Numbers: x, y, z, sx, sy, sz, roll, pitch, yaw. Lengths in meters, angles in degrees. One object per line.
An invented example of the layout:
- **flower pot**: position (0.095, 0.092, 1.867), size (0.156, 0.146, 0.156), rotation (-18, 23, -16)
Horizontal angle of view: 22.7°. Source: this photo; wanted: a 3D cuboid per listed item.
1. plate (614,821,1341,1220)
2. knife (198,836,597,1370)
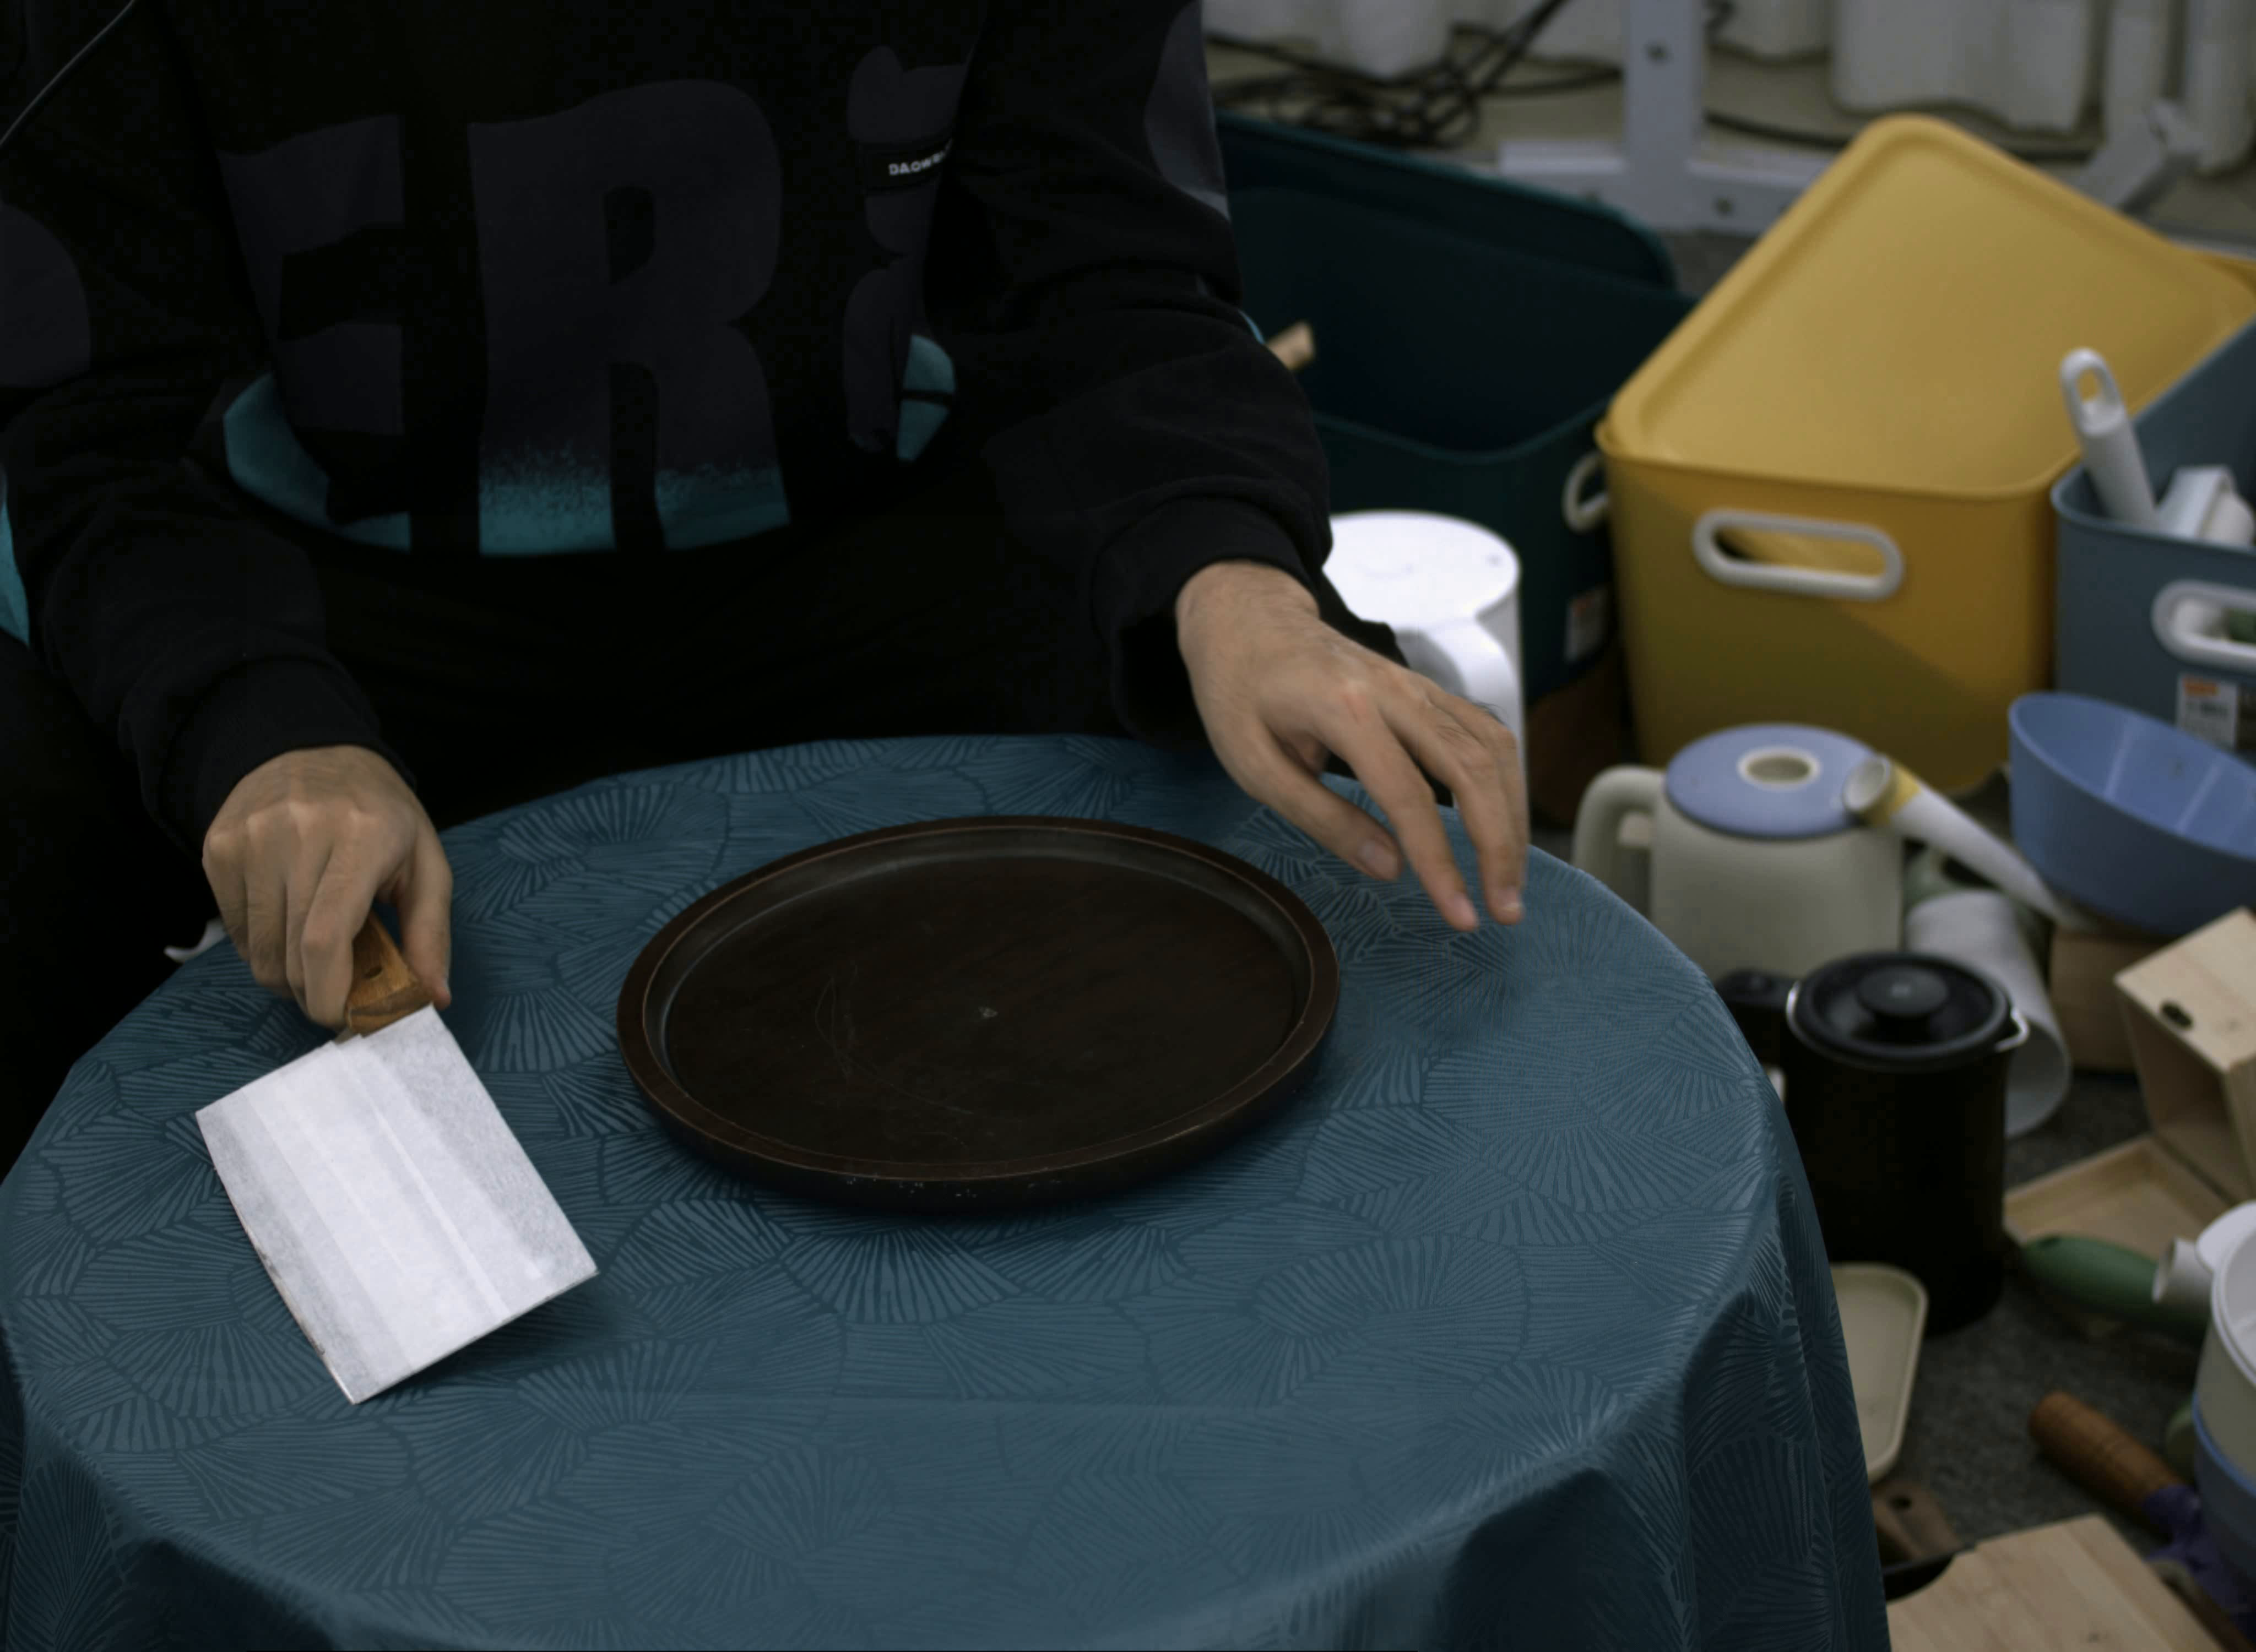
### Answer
- **plate**: position (-0.052, 0.065, 1.949), size (0.253, 0.029, 0.259), rotation (-3, 29, 2)
- **knife**: position (-0.265, 0.094, 1.900), size (0.093, 0.021, 0.308), rotation (-29, 35, -10)
